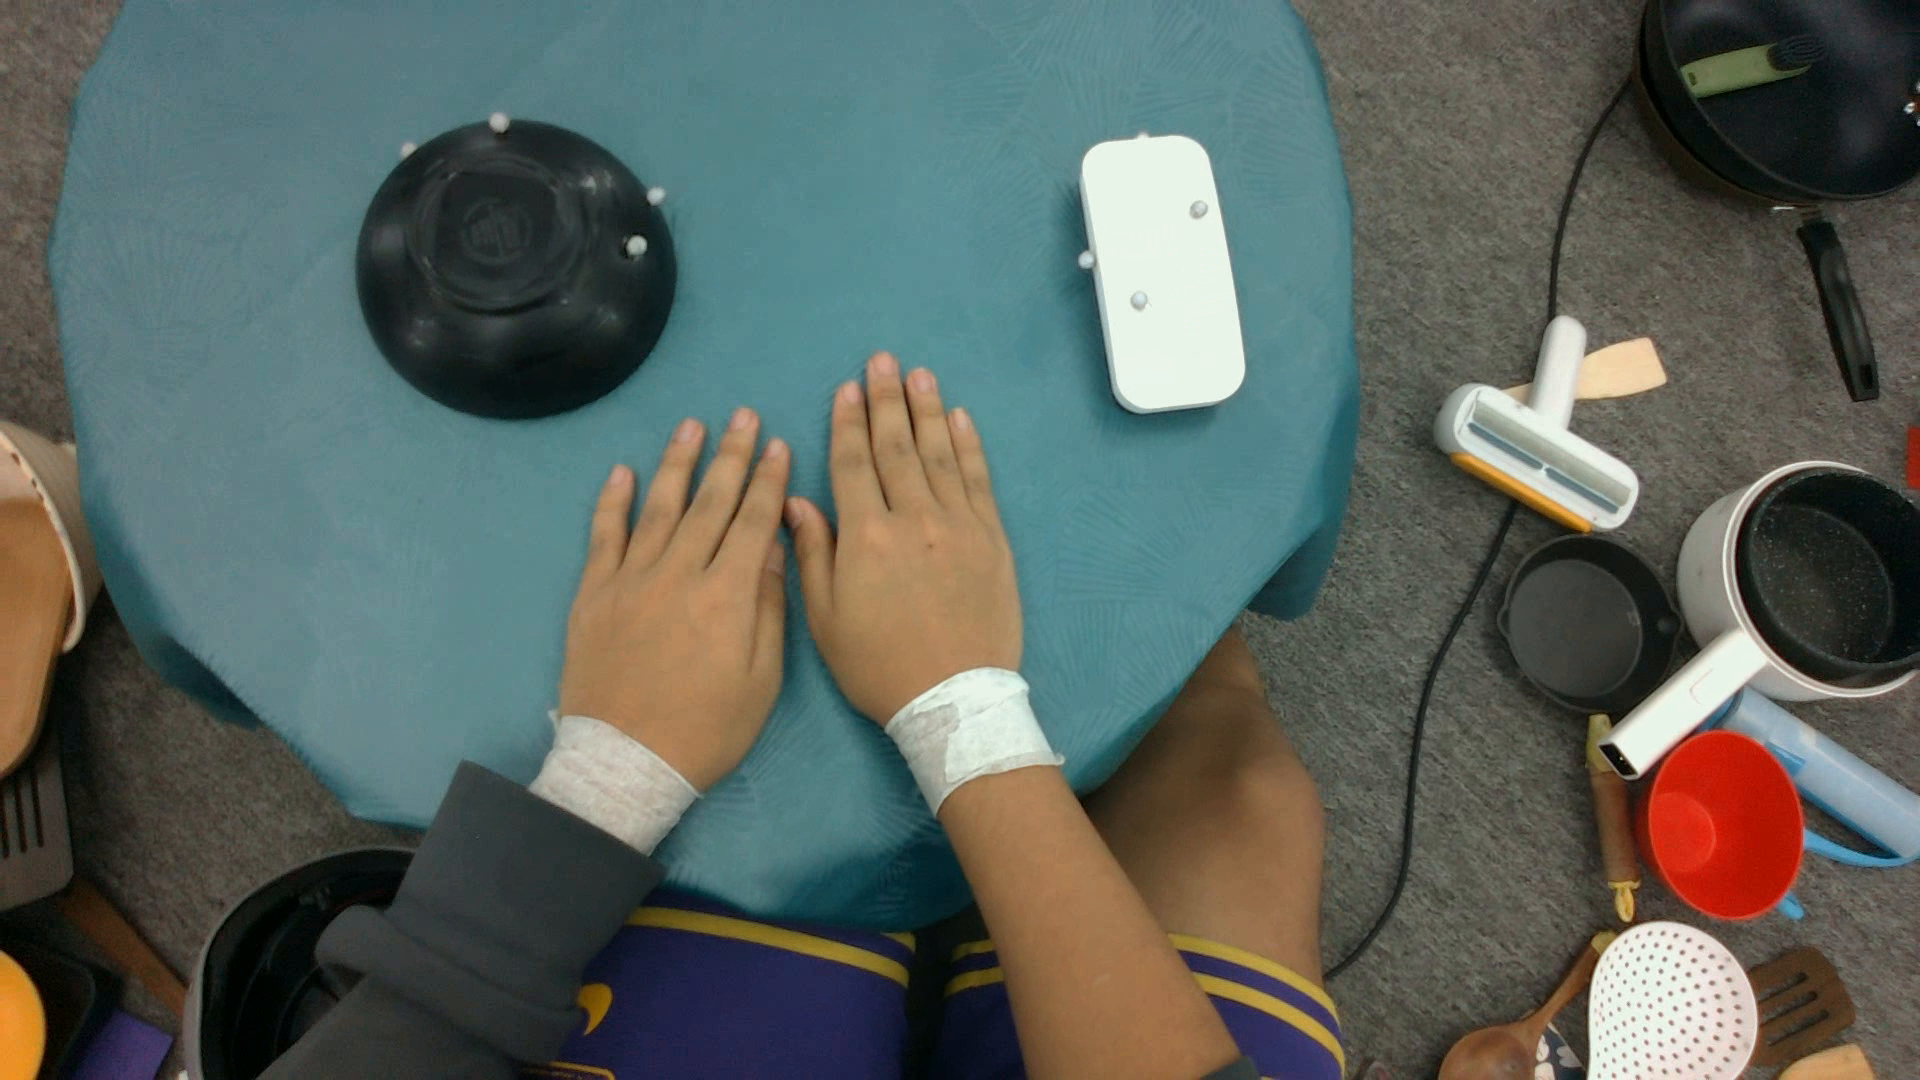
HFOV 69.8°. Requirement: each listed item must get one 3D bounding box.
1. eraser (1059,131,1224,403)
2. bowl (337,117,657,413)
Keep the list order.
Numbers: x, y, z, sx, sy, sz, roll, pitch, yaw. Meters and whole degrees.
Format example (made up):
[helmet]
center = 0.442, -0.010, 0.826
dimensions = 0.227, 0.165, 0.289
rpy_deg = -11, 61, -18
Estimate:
[eraser]
center = 0.083, -0.130, 0.650
dimensions = 0.063, 0.034, 0.131
rpy_deg = -6, 77, -7
[bowl]
center = -0.205, -0.129, 0.604
dimensions = 0.140, 0.049, 0.140
rpy_deg = 2, 76, -8
